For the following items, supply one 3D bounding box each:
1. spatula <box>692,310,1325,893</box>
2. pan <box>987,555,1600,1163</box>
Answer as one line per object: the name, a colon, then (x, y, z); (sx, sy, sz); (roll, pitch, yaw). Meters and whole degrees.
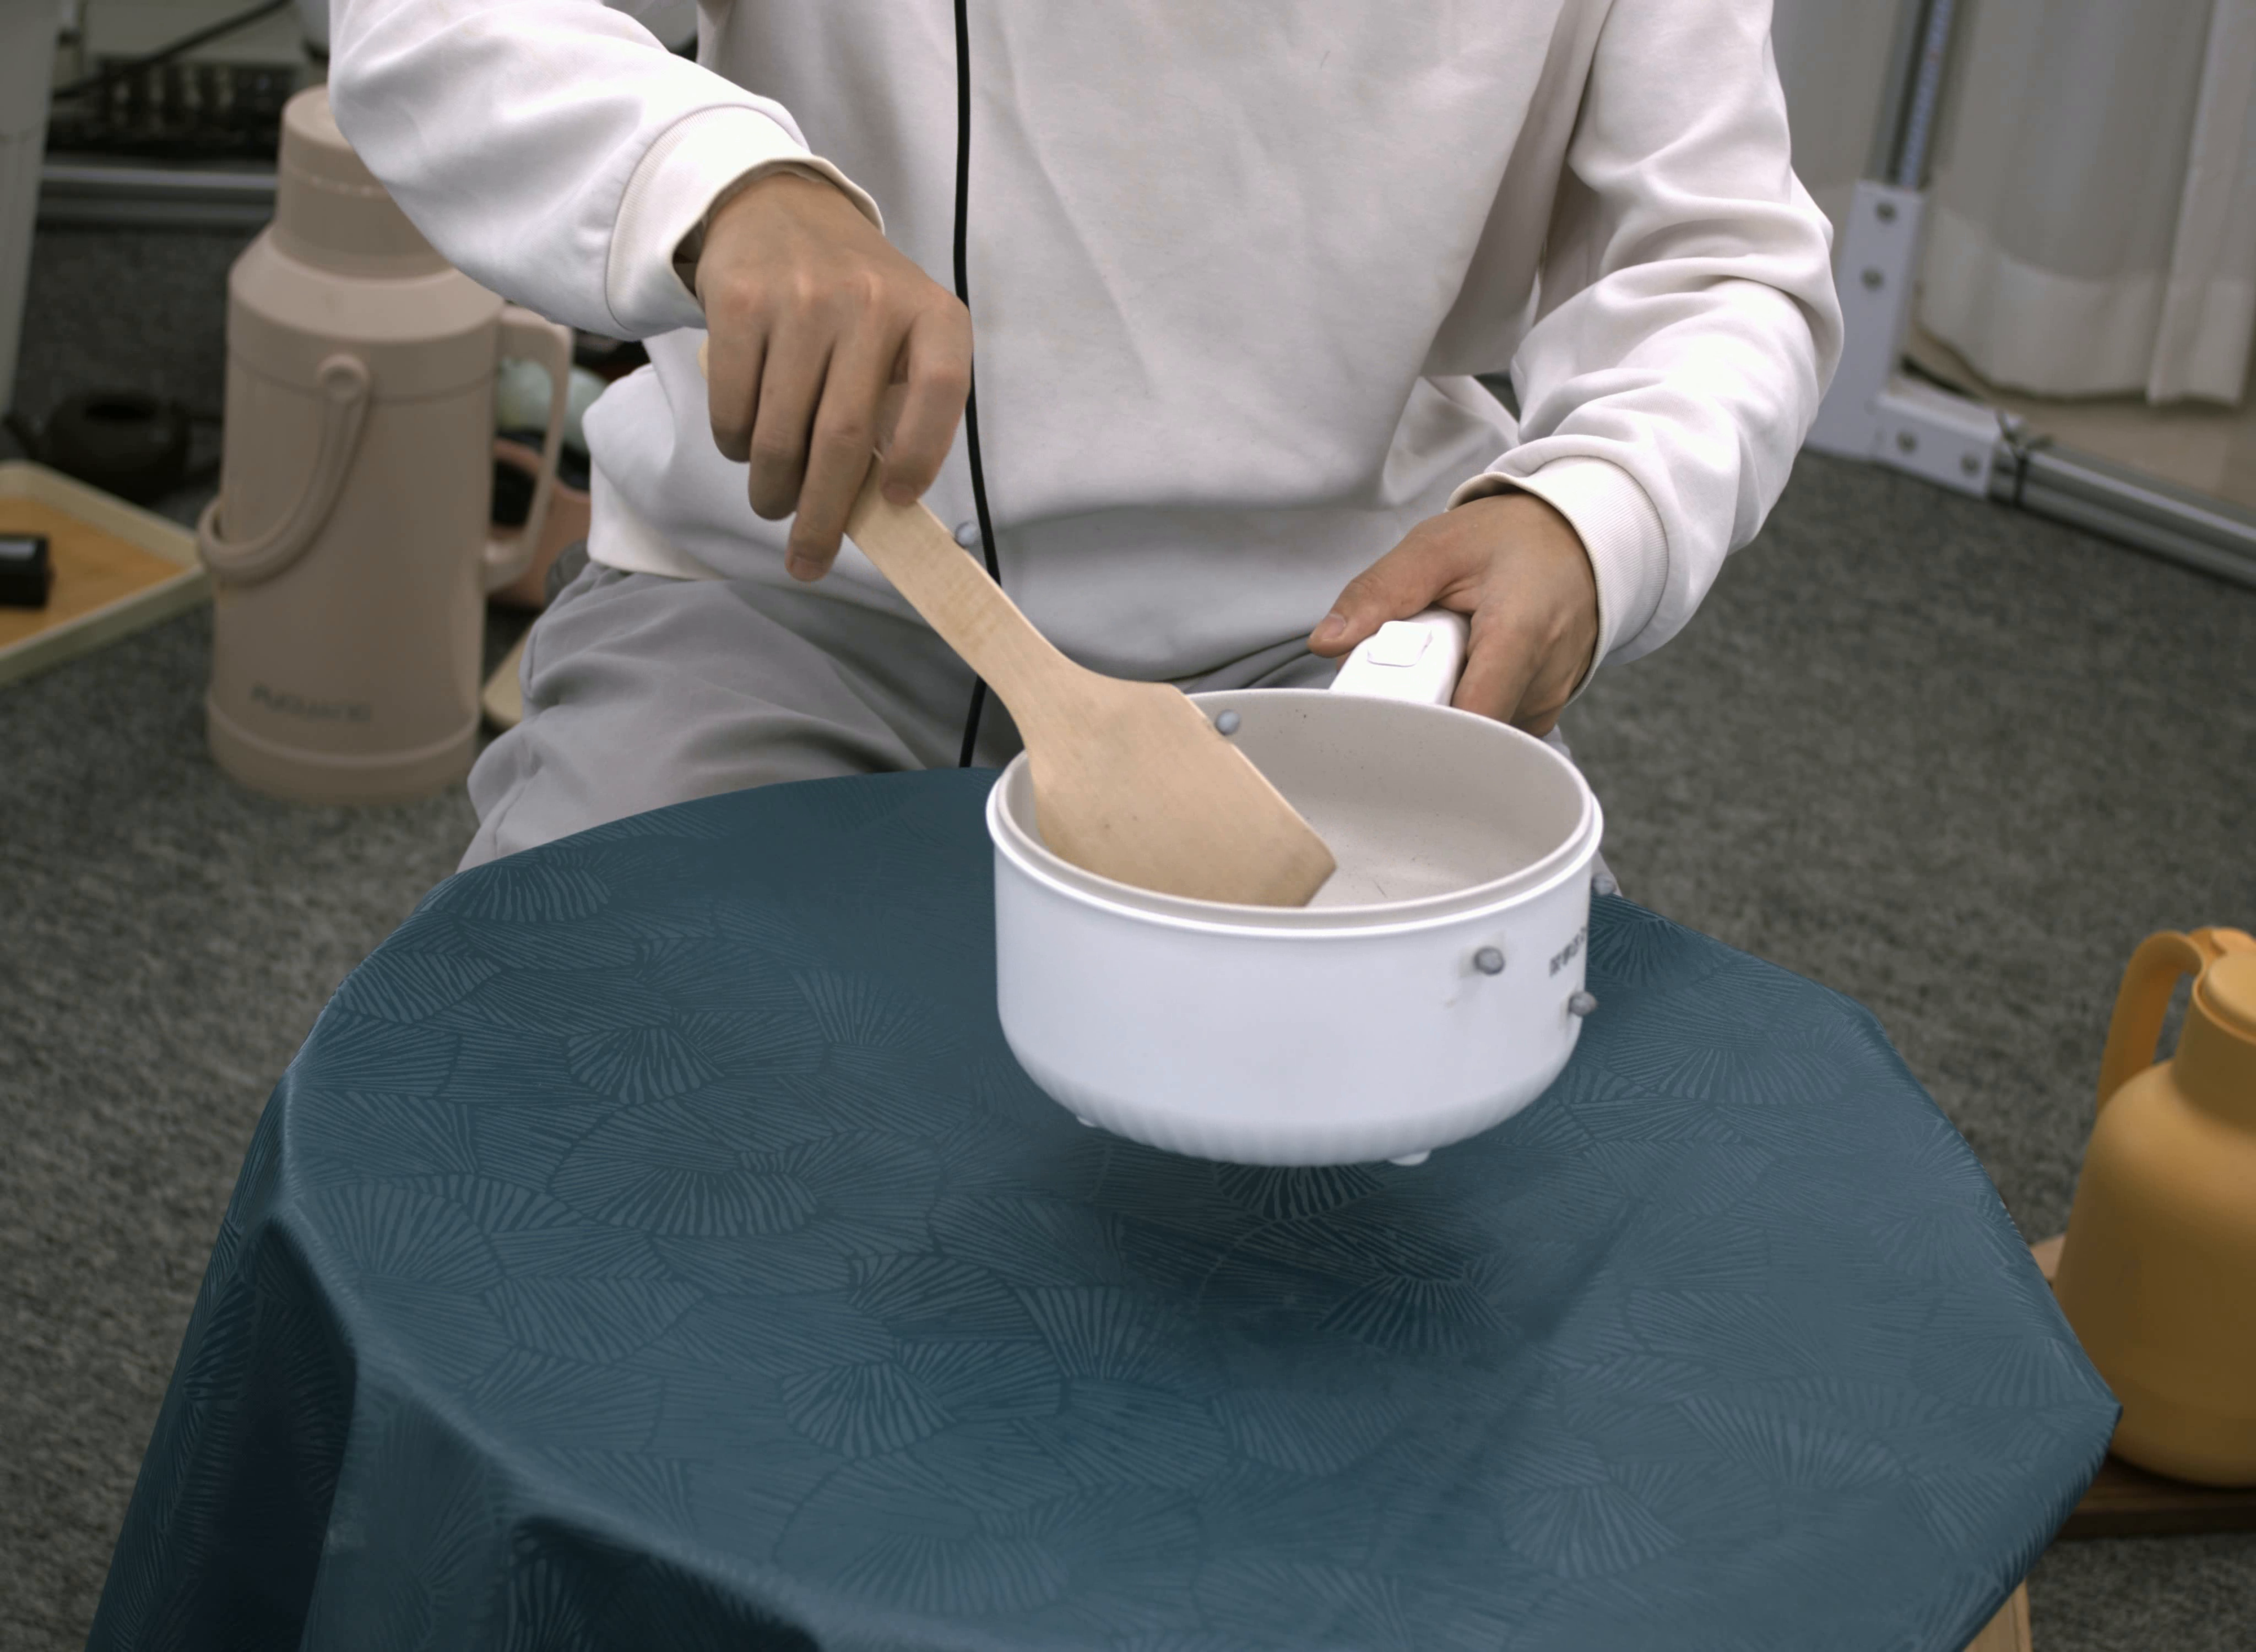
spatula: (-0.049, -0.068, 1.762); (0.295, 0.072, 0.010); (48, 16, 20)
pan: (0.073, 0.007, 1.823); (0.201, 0.102, 0.355); (6, 22, 14)
